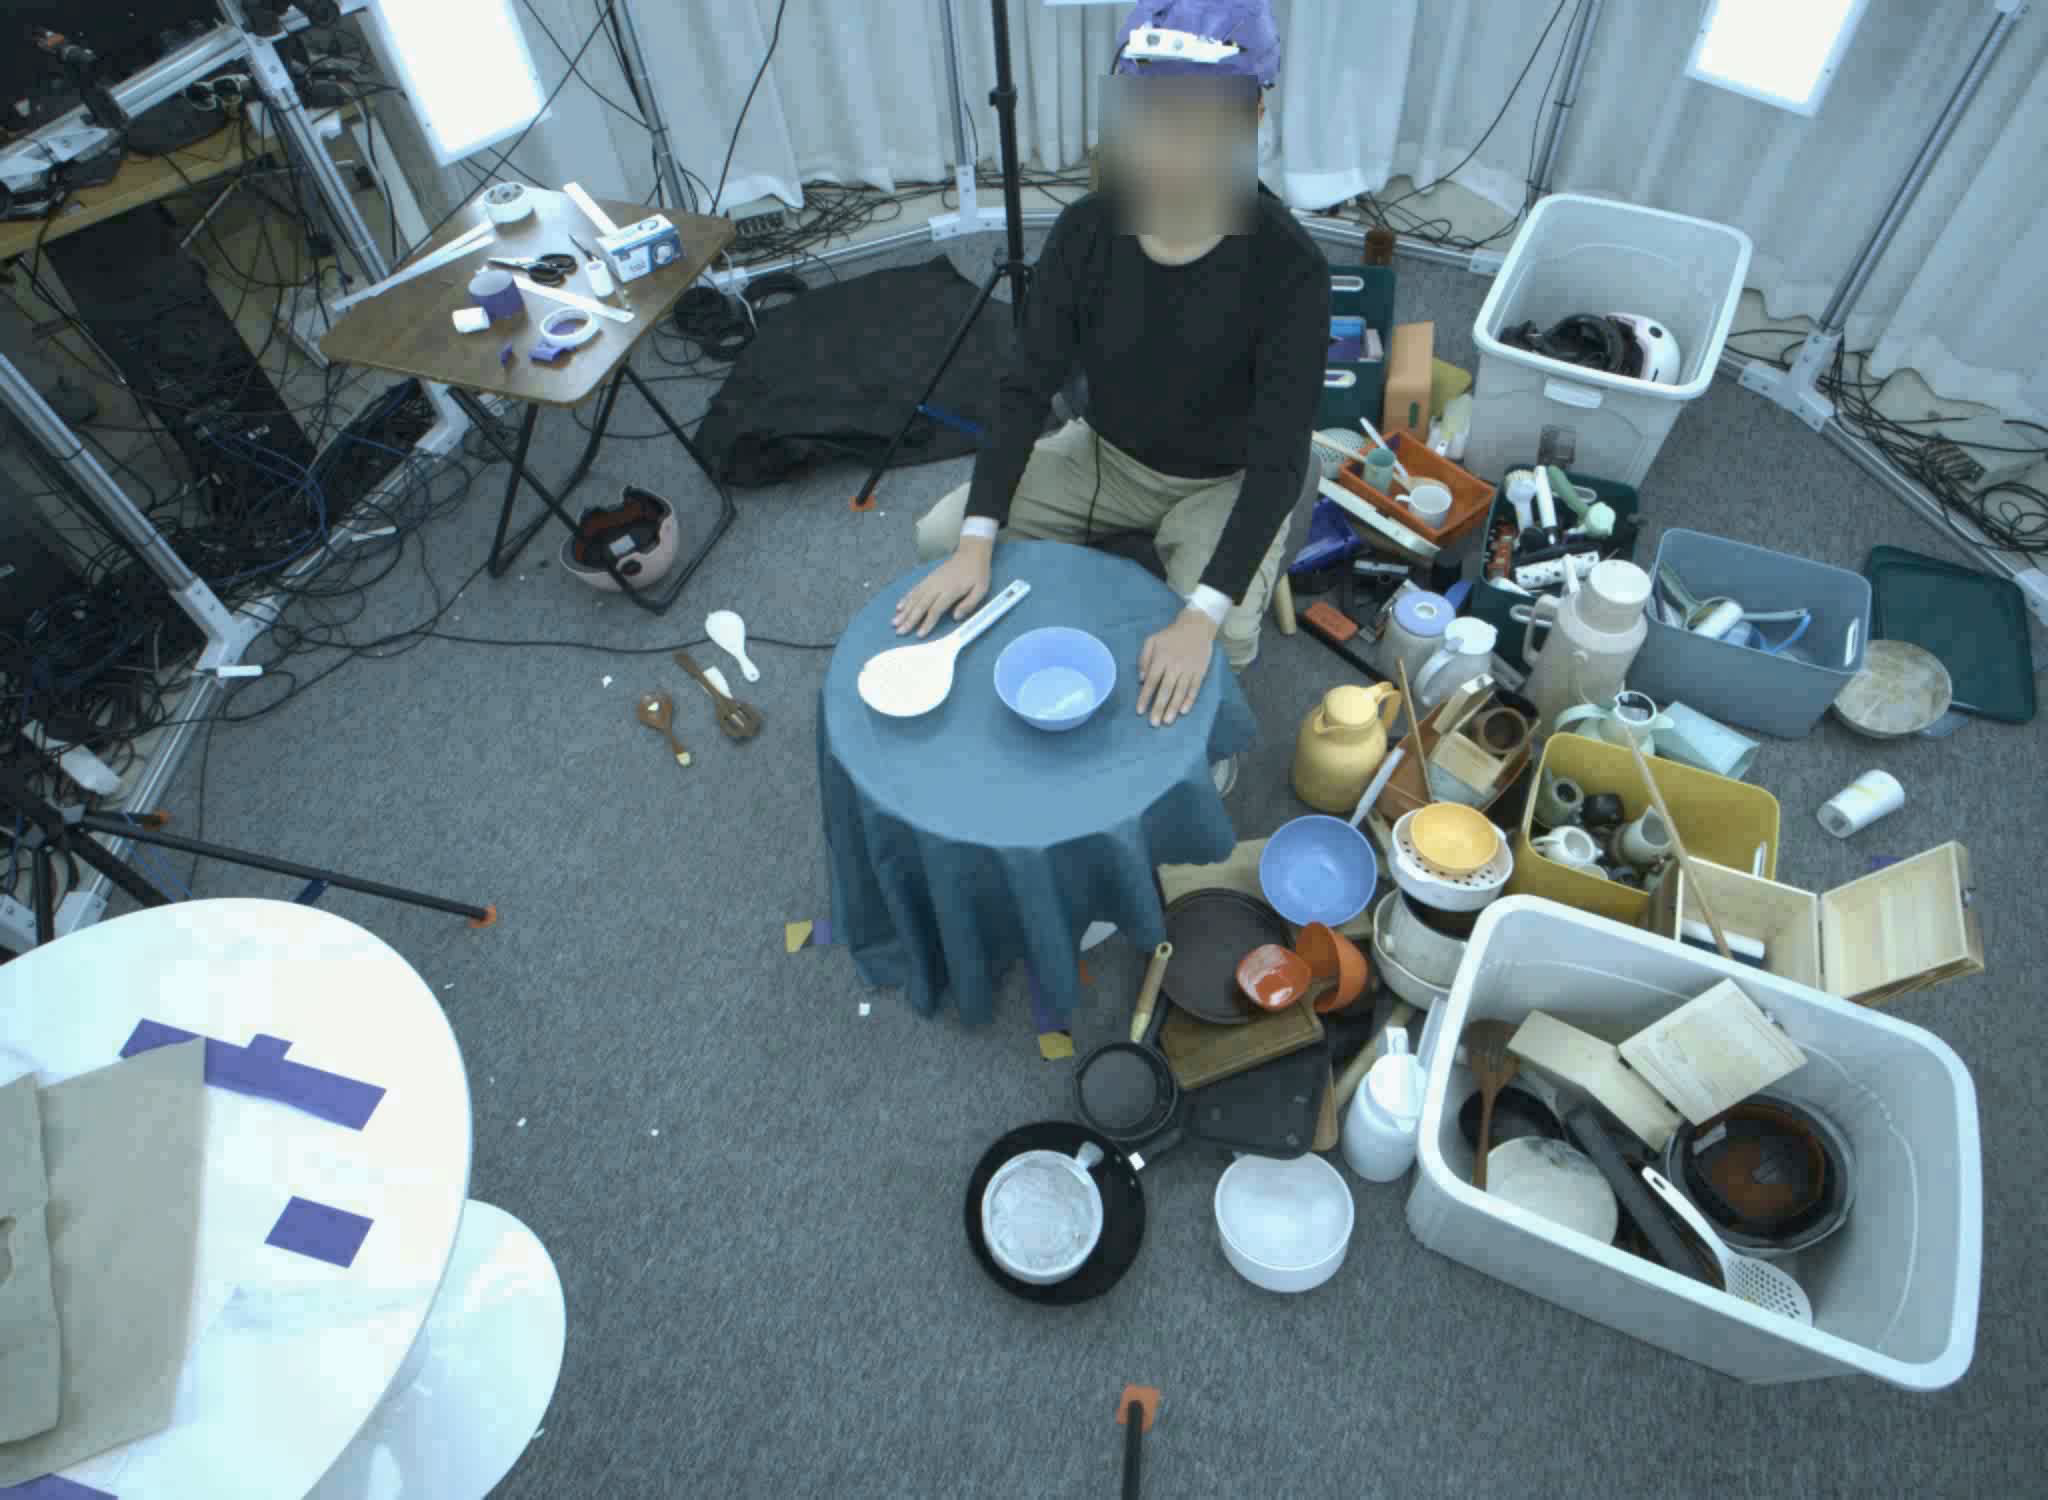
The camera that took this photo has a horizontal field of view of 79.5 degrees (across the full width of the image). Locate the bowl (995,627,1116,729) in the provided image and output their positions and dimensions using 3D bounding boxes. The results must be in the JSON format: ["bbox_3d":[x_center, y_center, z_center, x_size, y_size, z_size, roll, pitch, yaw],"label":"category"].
[{"bbox_3d":[0.047,-0.095,1.811,0.176,0.071,0.174,0,54,2],"label":"bowl"}]

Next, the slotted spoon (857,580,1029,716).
[{"bbox_3d":[-0.111,-0.163,1.879,0.134,0.046,0.352,32,61,22],"label":"slotted spoon"}]
